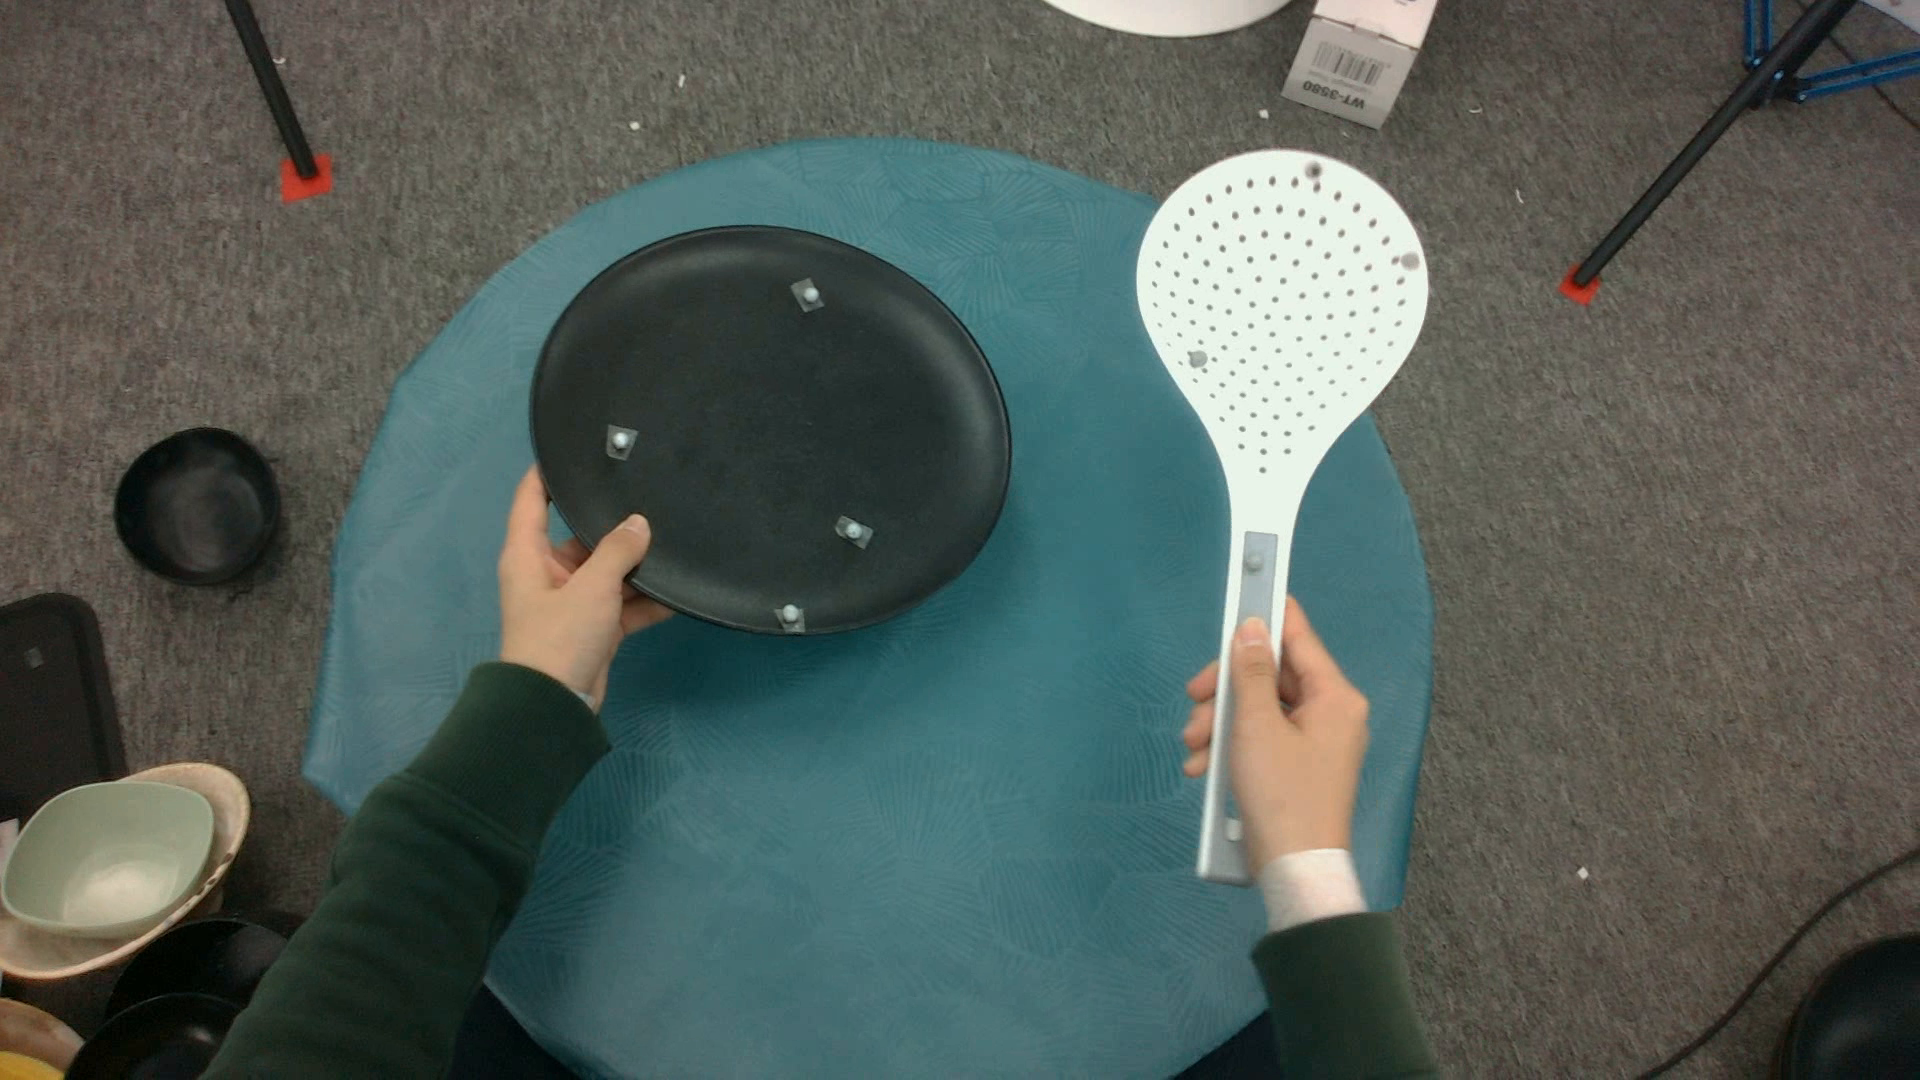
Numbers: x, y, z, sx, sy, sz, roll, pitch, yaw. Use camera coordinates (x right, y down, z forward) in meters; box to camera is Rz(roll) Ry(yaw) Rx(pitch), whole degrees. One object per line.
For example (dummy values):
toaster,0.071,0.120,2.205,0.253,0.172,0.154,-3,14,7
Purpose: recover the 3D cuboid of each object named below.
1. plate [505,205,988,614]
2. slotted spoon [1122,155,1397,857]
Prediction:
plate,-0.105,-0.070,0.706,0.244,0.023,0.245,8,61,-14
slotted spoon,0.131,-0.027,0.655,0.136,0.045,0.351,8,68,4
